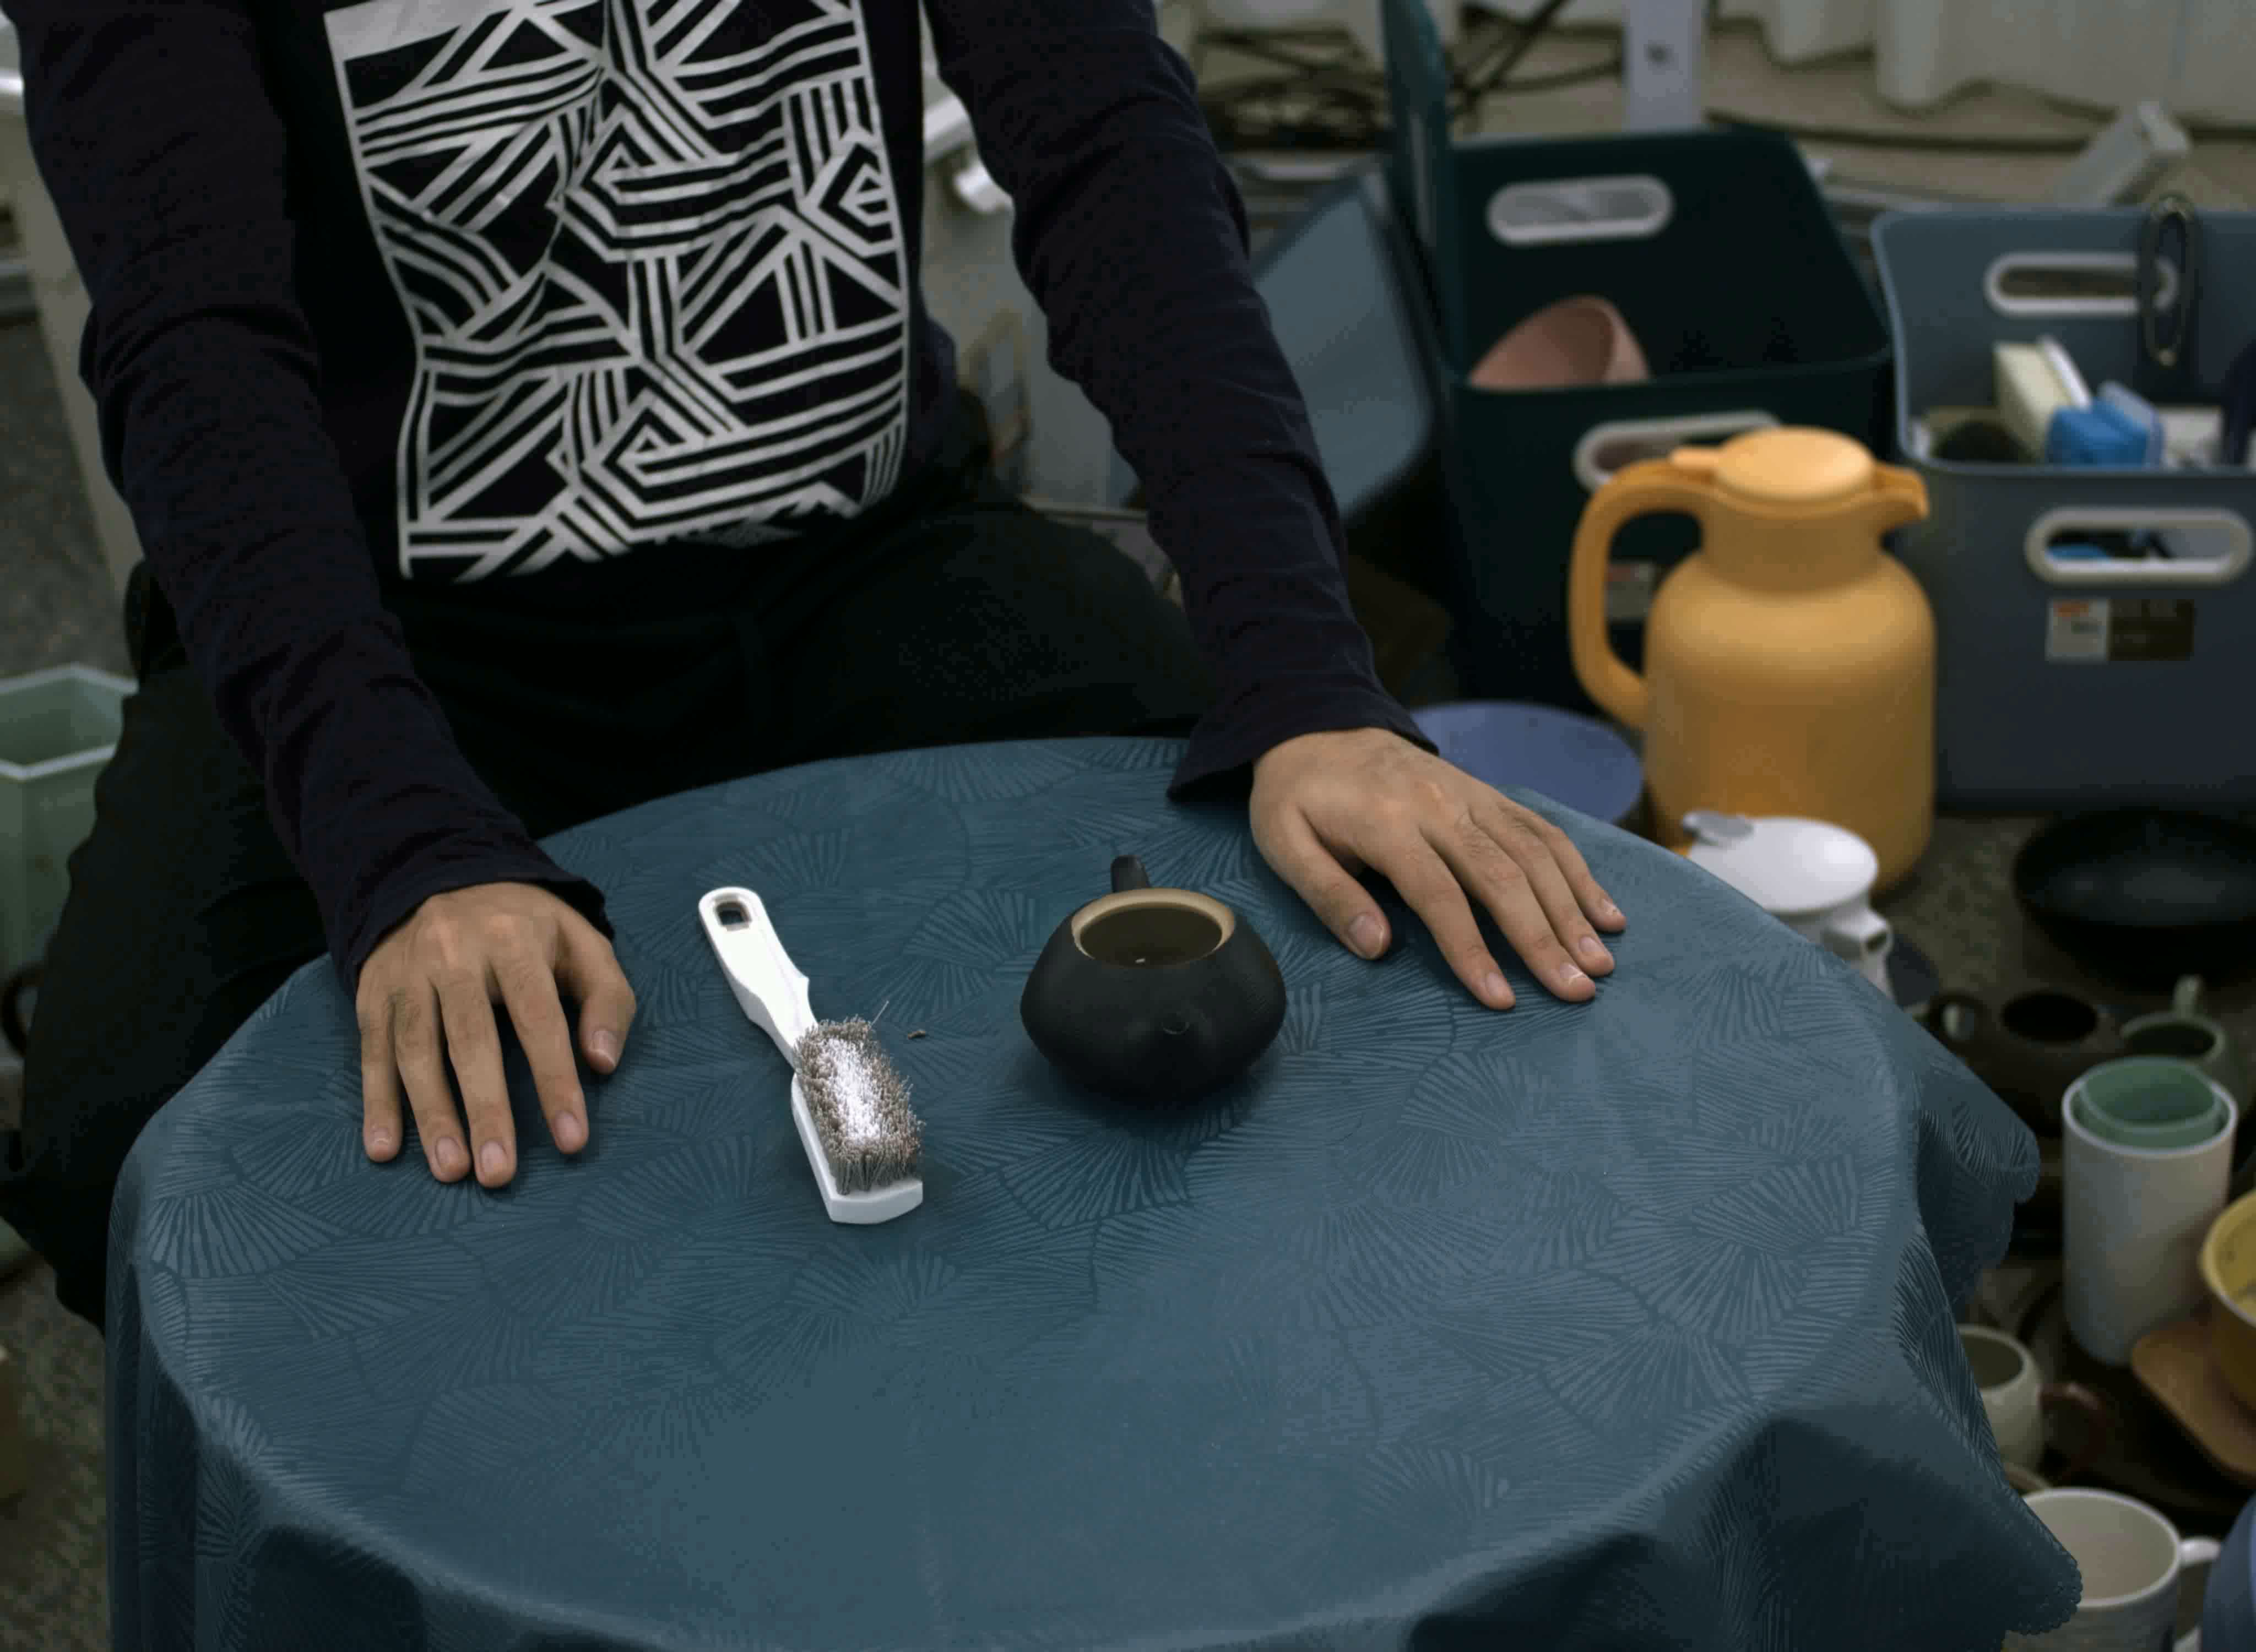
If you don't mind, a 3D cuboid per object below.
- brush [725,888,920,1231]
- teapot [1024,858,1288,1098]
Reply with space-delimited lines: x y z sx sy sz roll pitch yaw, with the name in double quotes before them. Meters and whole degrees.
"brush" -0.111 0.063 1.934 0.034 0.050 0.246 -12 28 -9
"teapot" 0.009 0.058 1.925 0.091 0.052 0.135 -4 26 -8
